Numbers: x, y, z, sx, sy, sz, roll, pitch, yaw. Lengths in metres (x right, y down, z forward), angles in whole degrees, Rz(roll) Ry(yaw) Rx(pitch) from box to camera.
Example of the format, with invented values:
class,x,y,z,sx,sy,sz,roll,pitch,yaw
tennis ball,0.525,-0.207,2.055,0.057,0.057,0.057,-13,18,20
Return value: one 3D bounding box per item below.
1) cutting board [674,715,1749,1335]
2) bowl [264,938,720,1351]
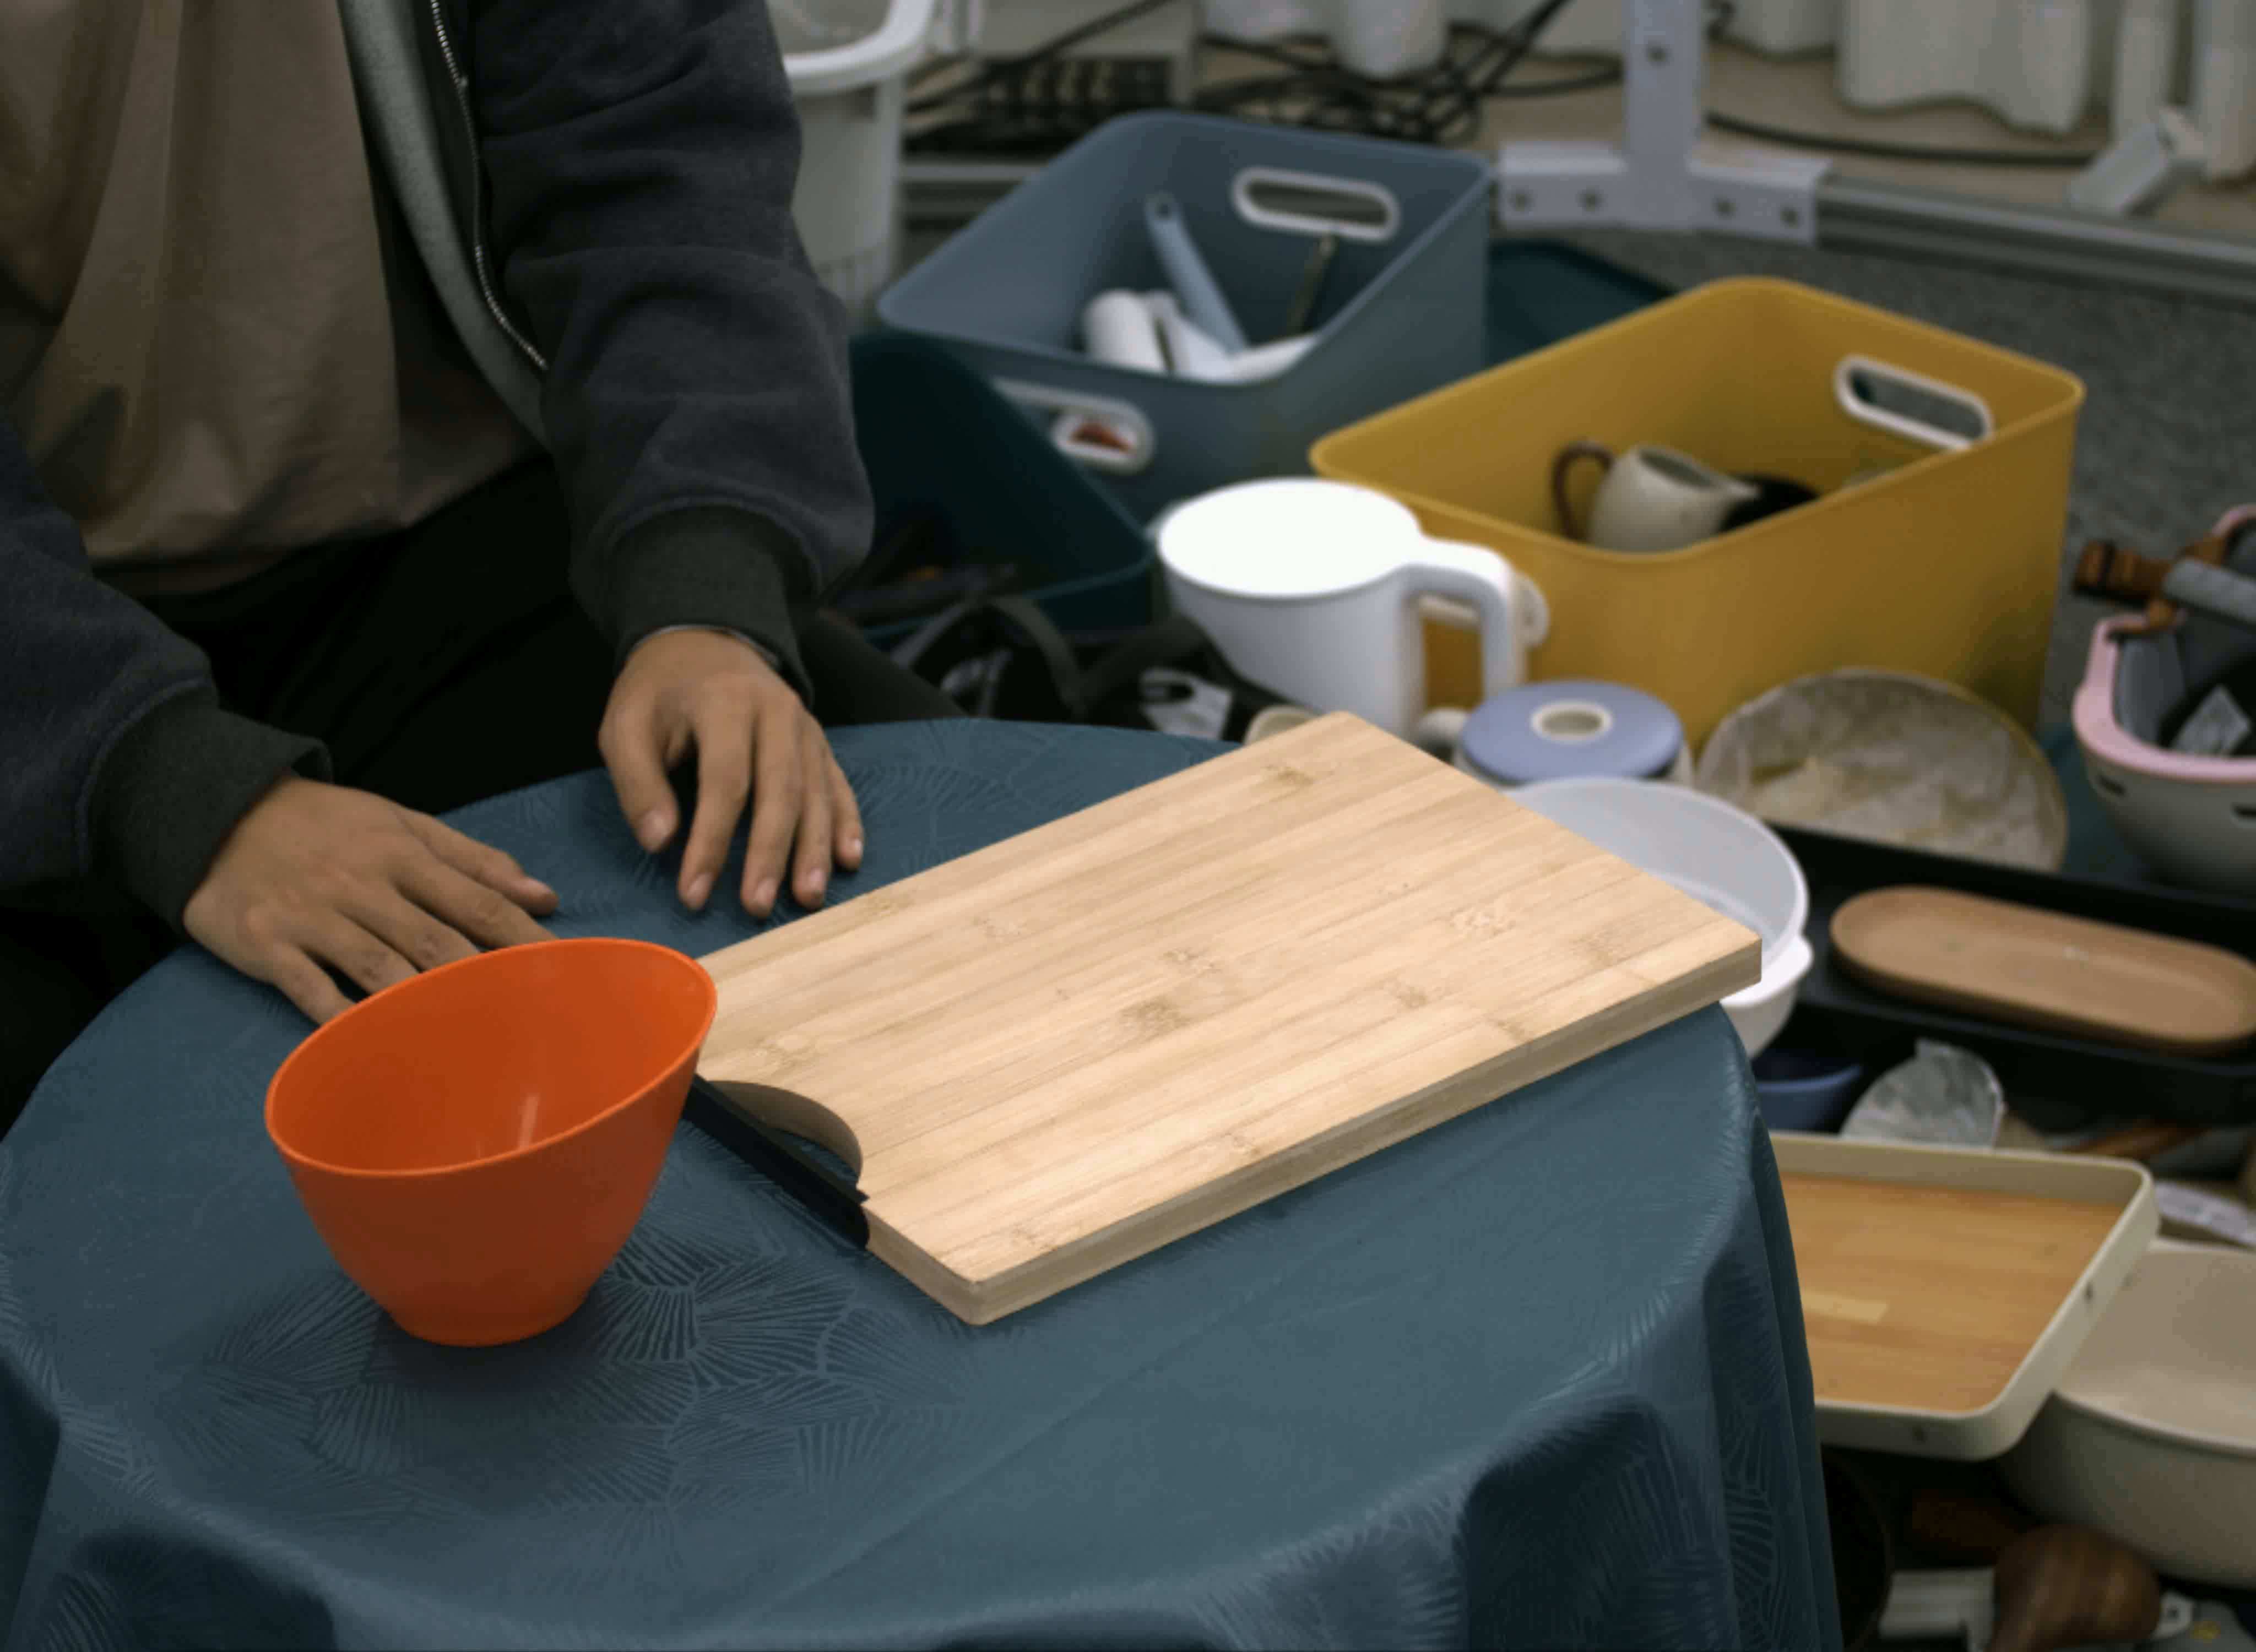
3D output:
class,x,y,z,sx,sy,sz,roll,pitch,yaw
cutting board,0.011,0.061,1.960,0.352,0.023,0.251,-21,32,-32
bowl,-0.200,0.109,1.798,0.147,0.103,0.150,-2,28,2
